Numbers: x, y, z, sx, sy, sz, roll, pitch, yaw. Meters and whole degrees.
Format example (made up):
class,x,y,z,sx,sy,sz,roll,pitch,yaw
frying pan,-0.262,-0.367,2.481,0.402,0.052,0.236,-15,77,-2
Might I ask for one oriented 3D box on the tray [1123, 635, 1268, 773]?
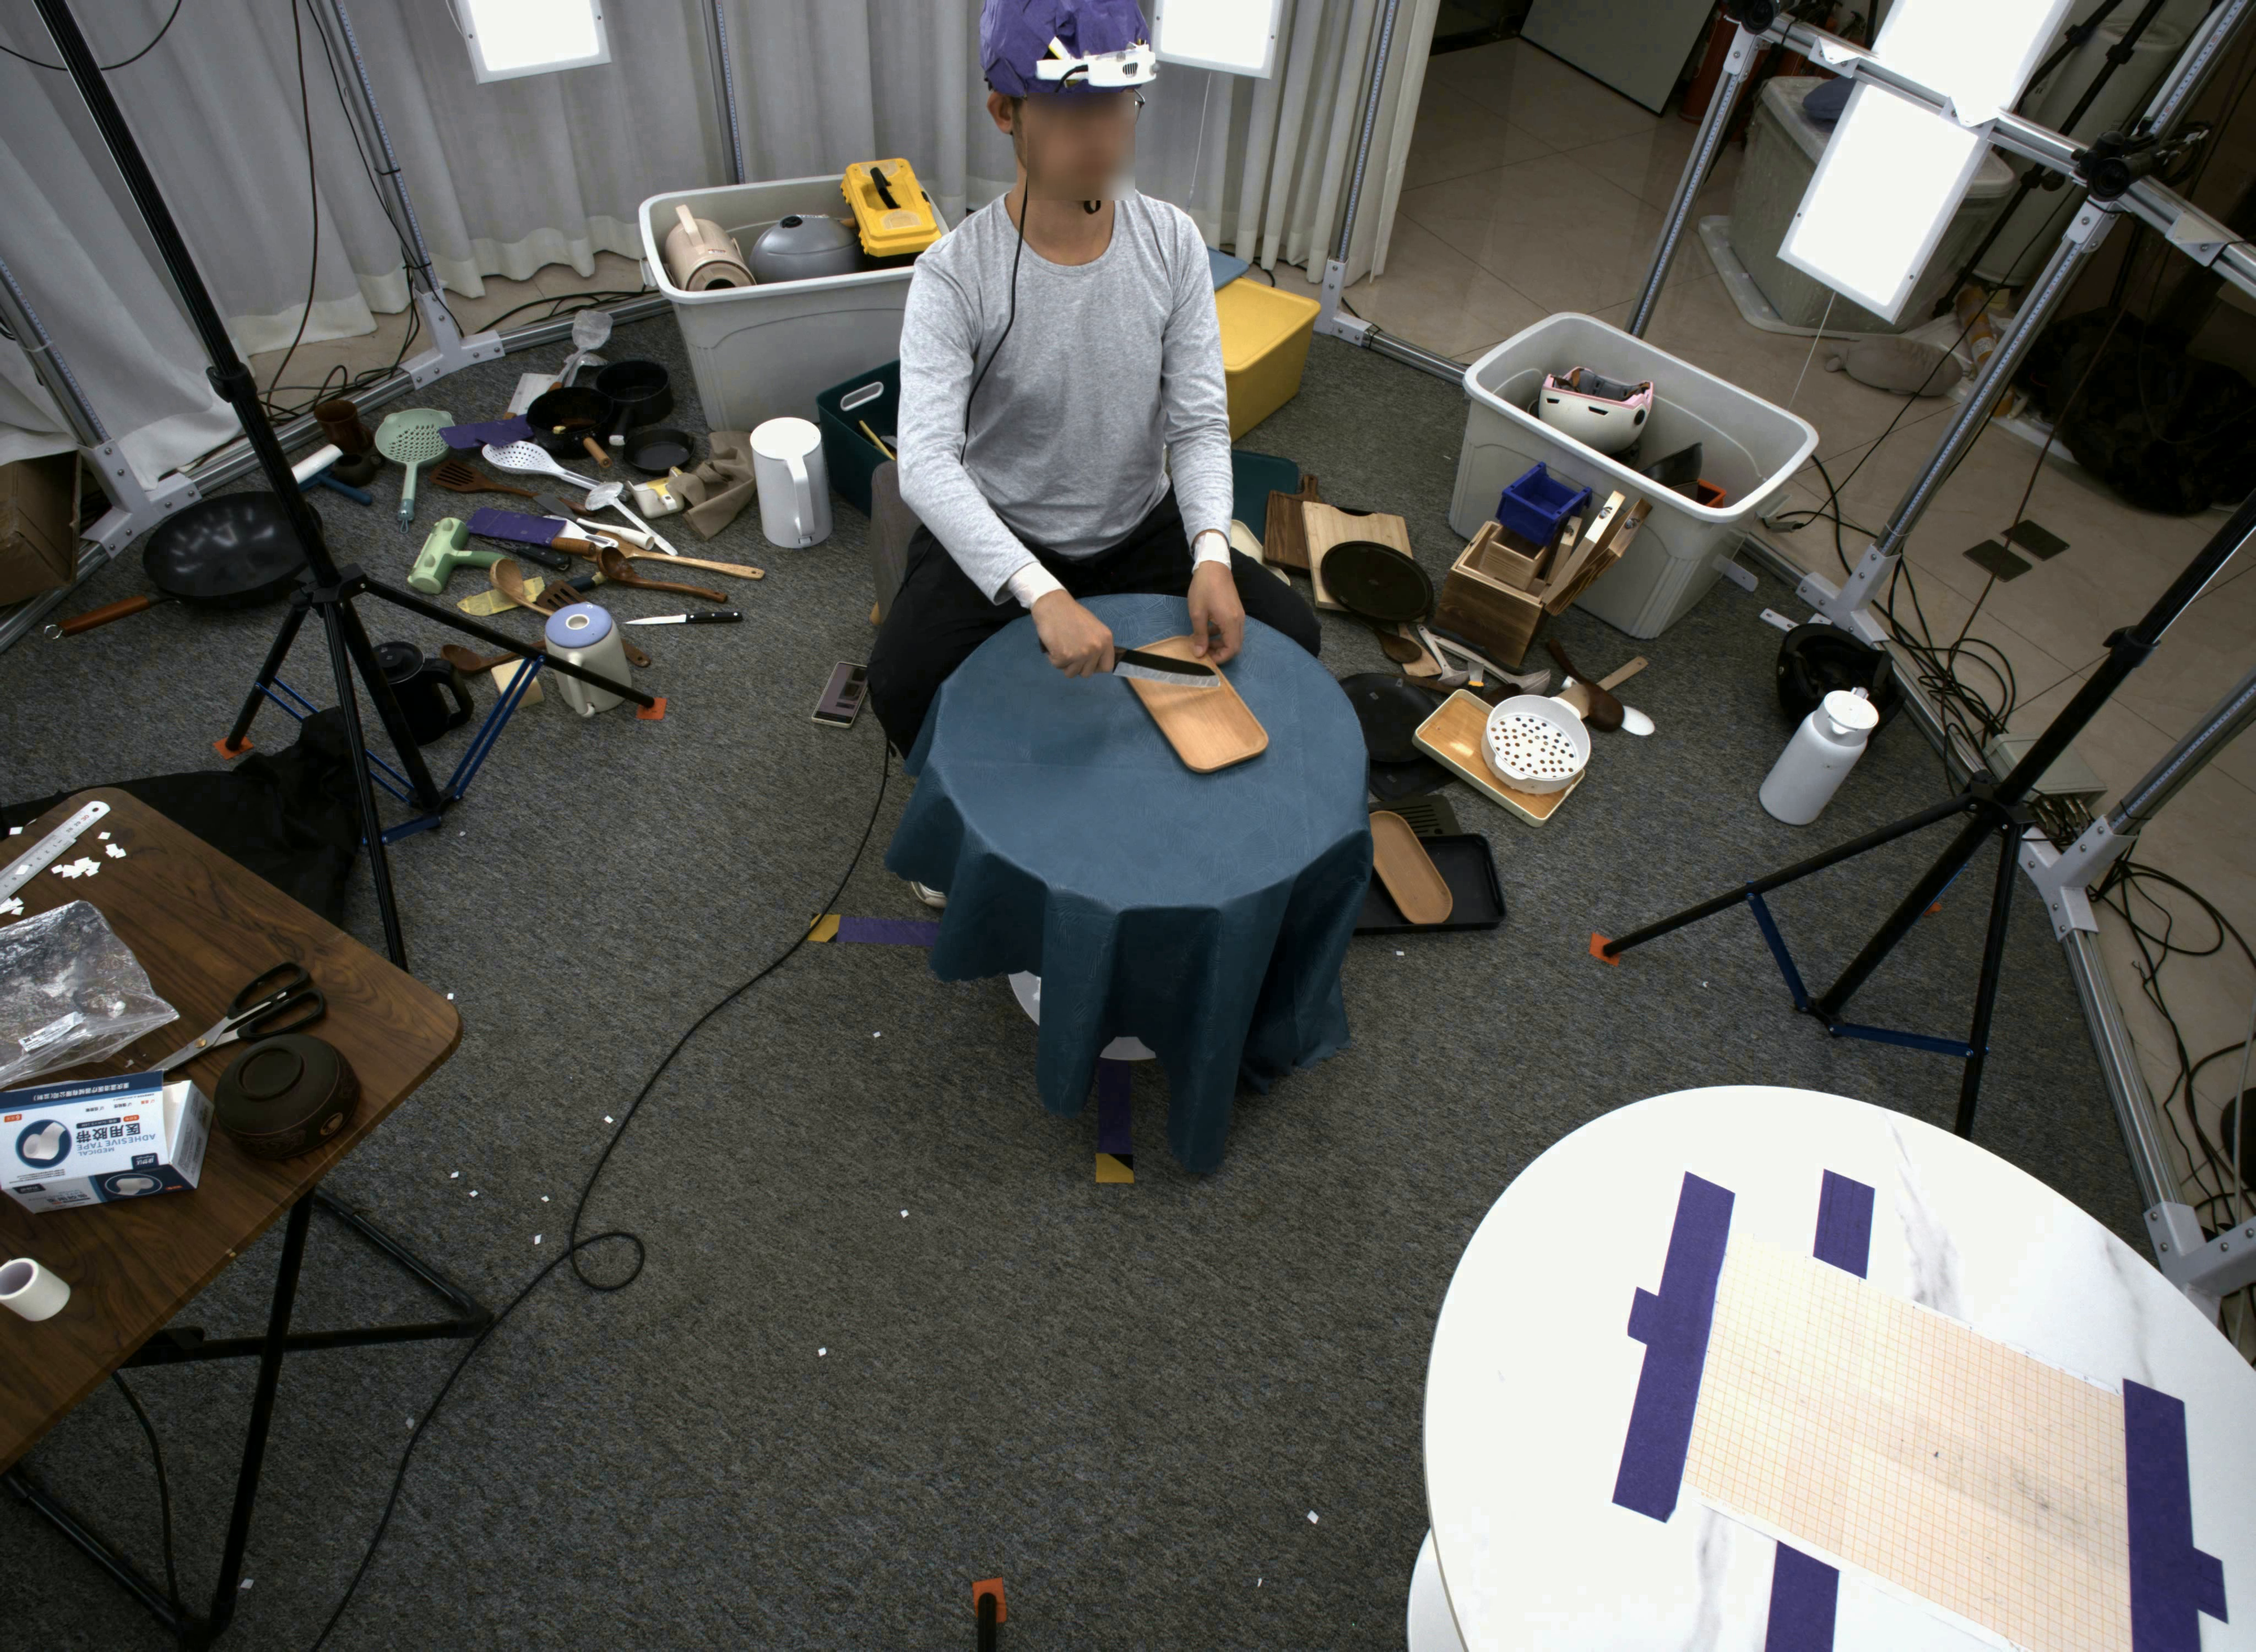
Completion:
class,x,y,z,sx,sy,sz,roll,pitch,yaw
tray,0.092,-0.175,1.813,0.131,0.022,0.256,-17,52,-18

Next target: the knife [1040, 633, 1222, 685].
class,x,y,z,sx,sy,sz,roll,pitch,yaw
knife,0.009,-0.226,1.757,0.287,0.049,0.020,9,42,-27
